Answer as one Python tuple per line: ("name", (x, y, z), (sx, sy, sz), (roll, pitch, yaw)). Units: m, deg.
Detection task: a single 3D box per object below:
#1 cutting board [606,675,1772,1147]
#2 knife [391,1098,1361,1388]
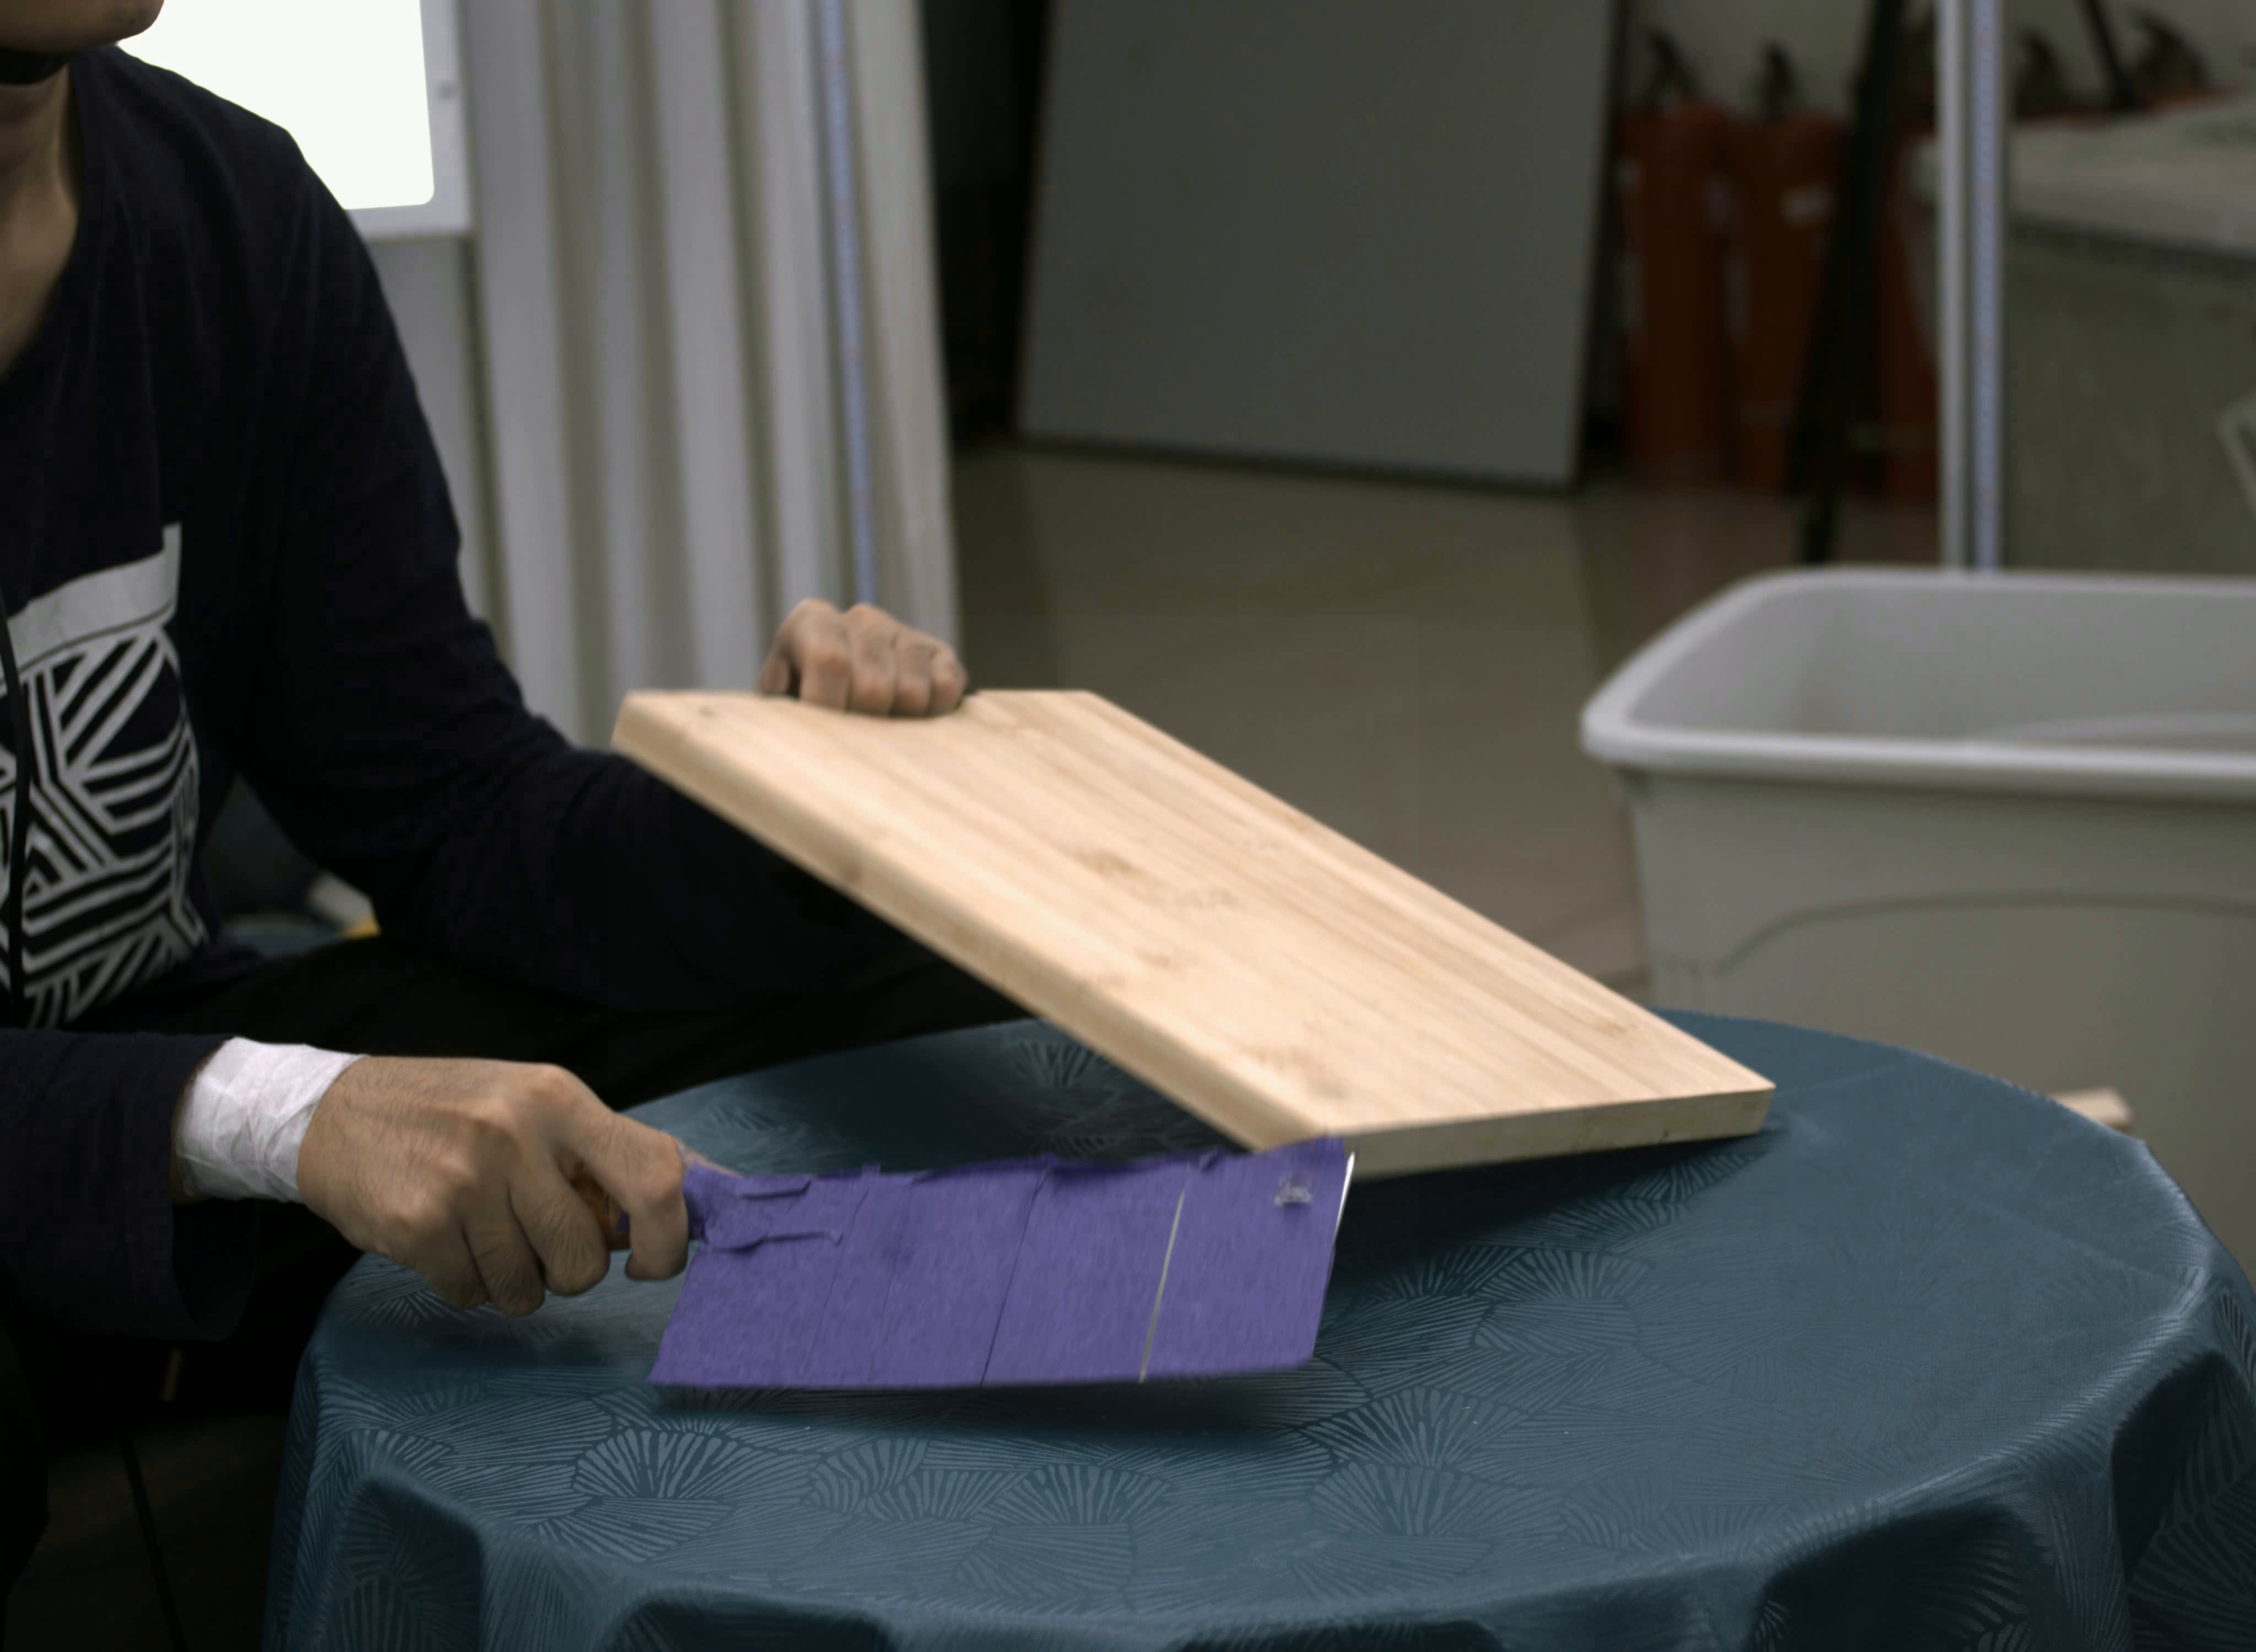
("cutting board", (0.018, 0.026, 1.815), (0.352, 0.024, 0.245), (30, 19, 39))
("knife", (-0.085, 0.128, 1.608), (0.315, 0.032, 0.104), (-7, 36, 21))
